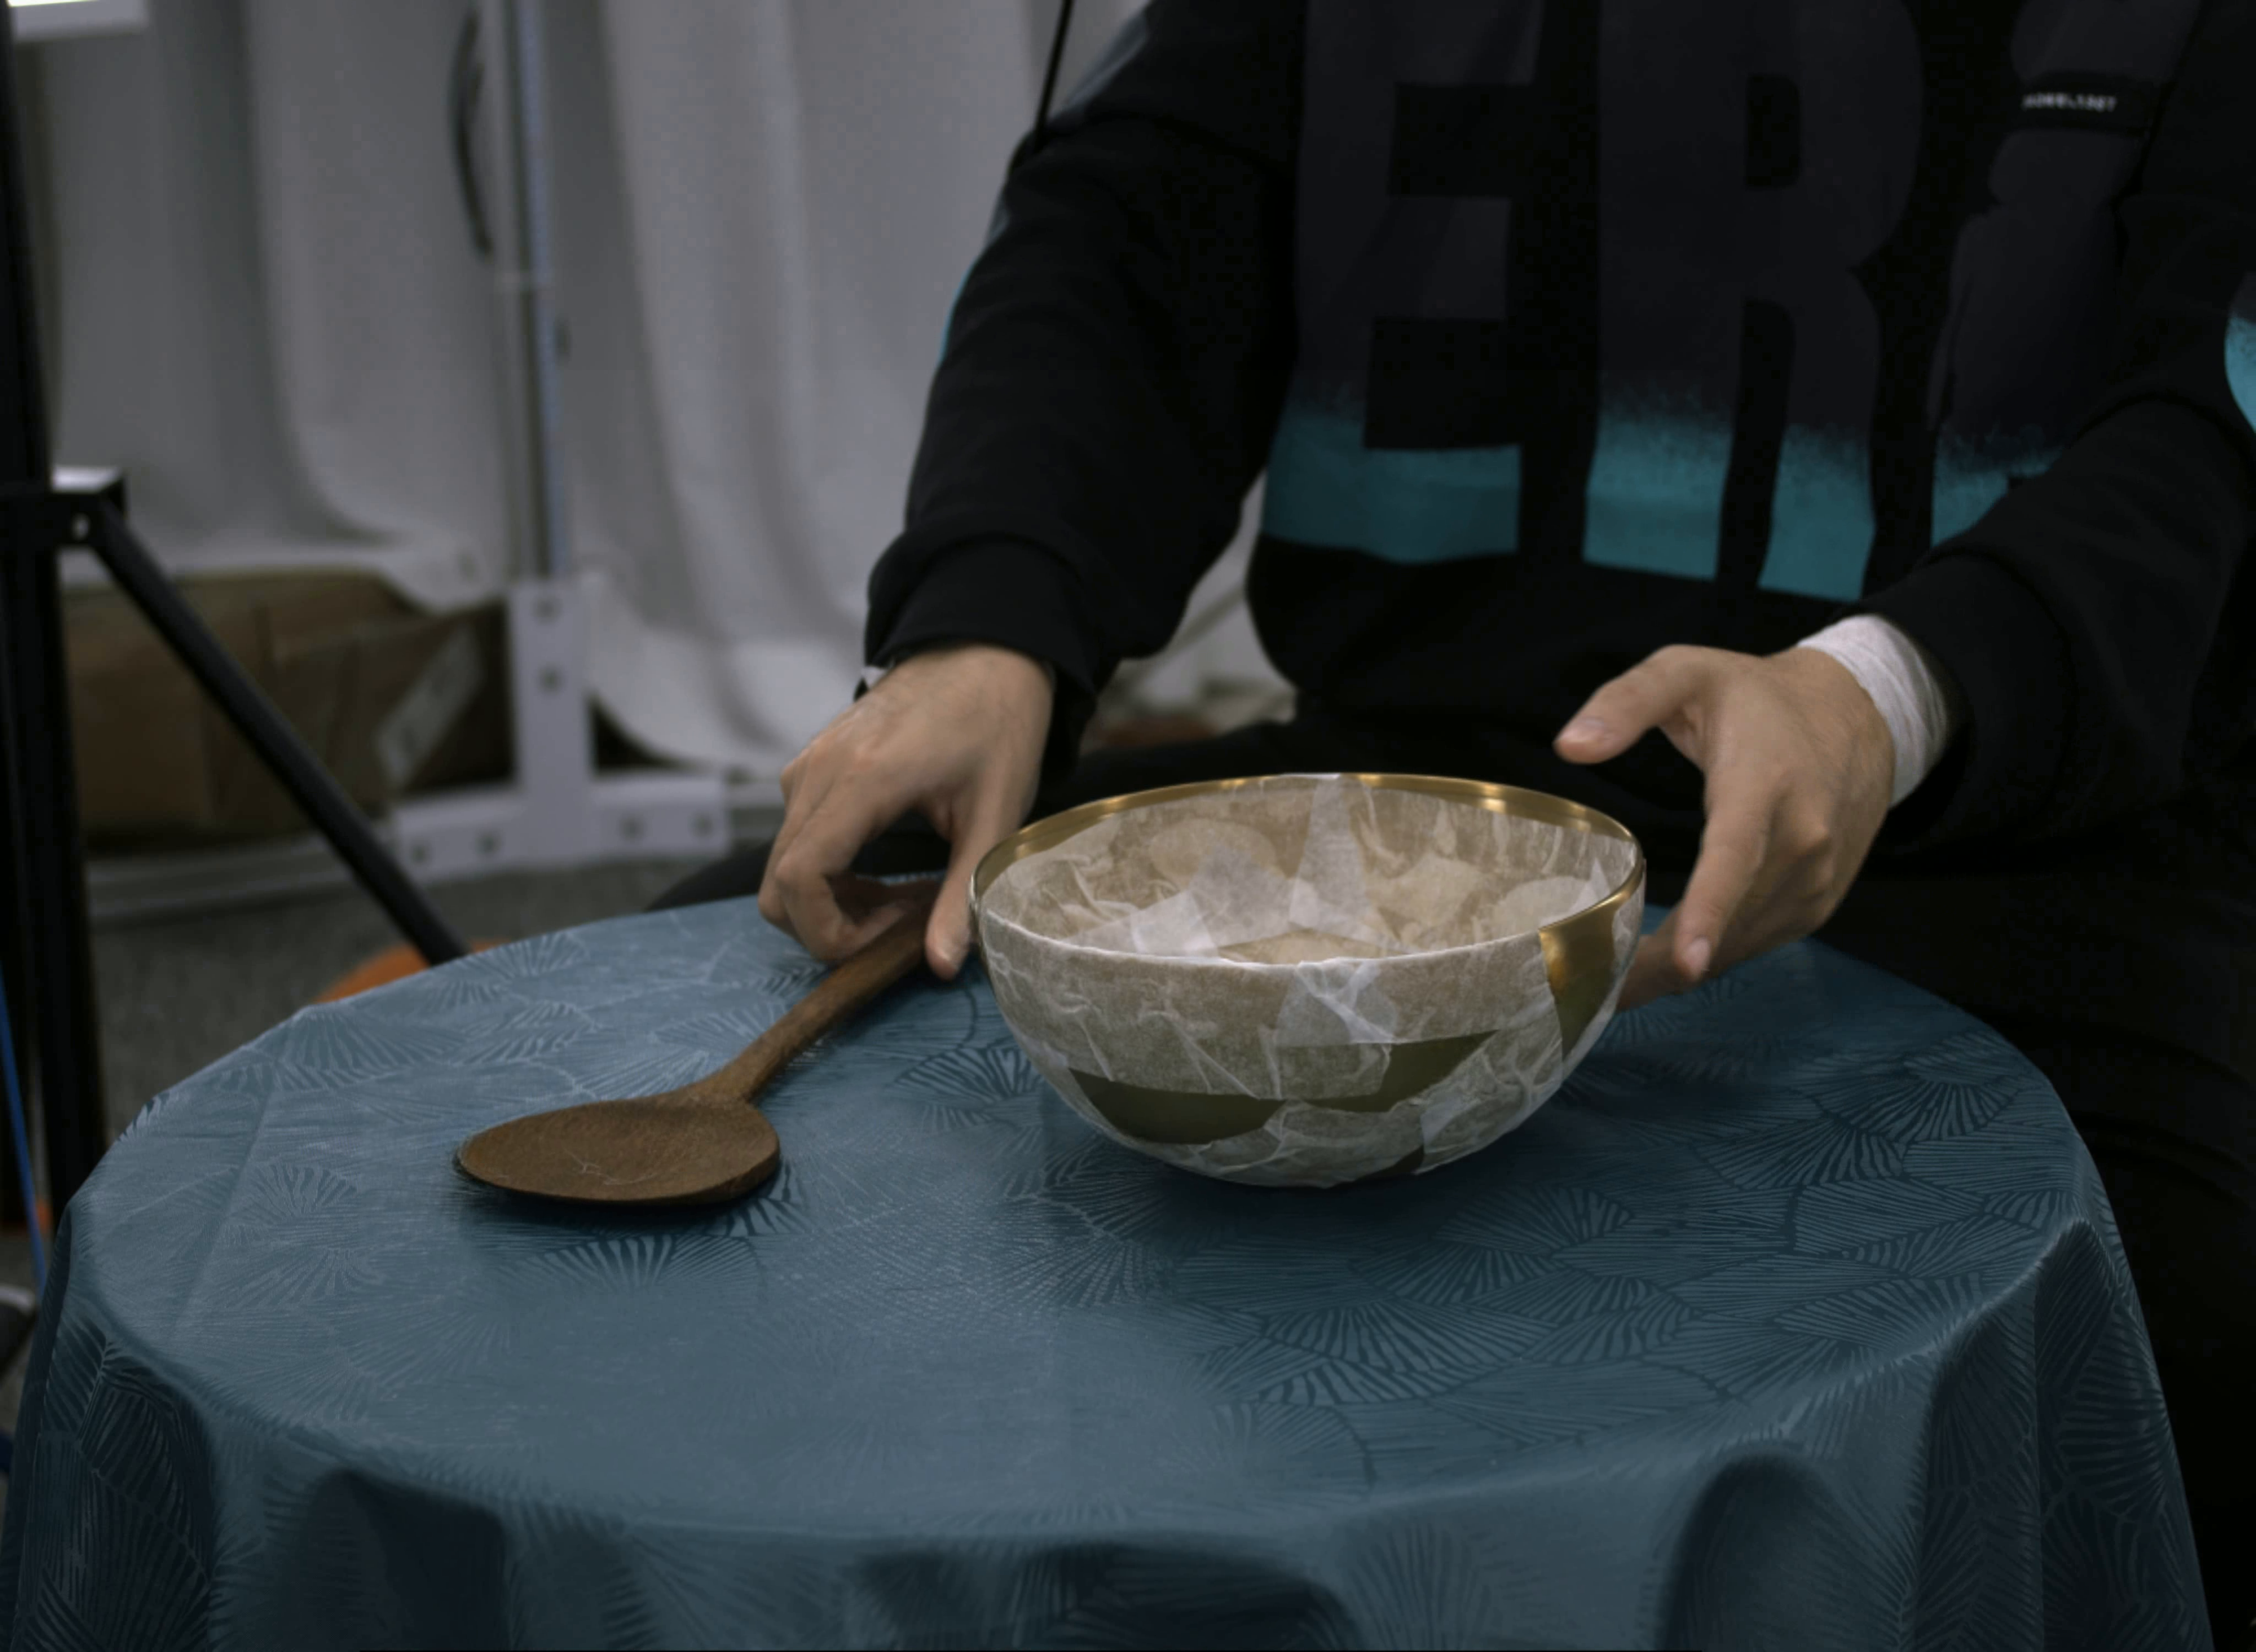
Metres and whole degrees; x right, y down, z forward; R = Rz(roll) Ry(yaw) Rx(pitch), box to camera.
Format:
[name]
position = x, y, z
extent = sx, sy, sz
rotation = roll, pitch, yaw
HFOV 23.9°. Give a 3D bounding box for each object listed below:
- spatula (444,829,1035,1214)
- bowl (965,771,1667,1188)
[spatula]
position = -0.095, 0.057, 1.720
extent = 0.097, 0.016, 0.381
rotation = 5, 19, 22
[bowl]
position = 0.057, 0.053, 1.574
extent = 0.213, 0.094, 0.216
rotation = -4, 14, -1
